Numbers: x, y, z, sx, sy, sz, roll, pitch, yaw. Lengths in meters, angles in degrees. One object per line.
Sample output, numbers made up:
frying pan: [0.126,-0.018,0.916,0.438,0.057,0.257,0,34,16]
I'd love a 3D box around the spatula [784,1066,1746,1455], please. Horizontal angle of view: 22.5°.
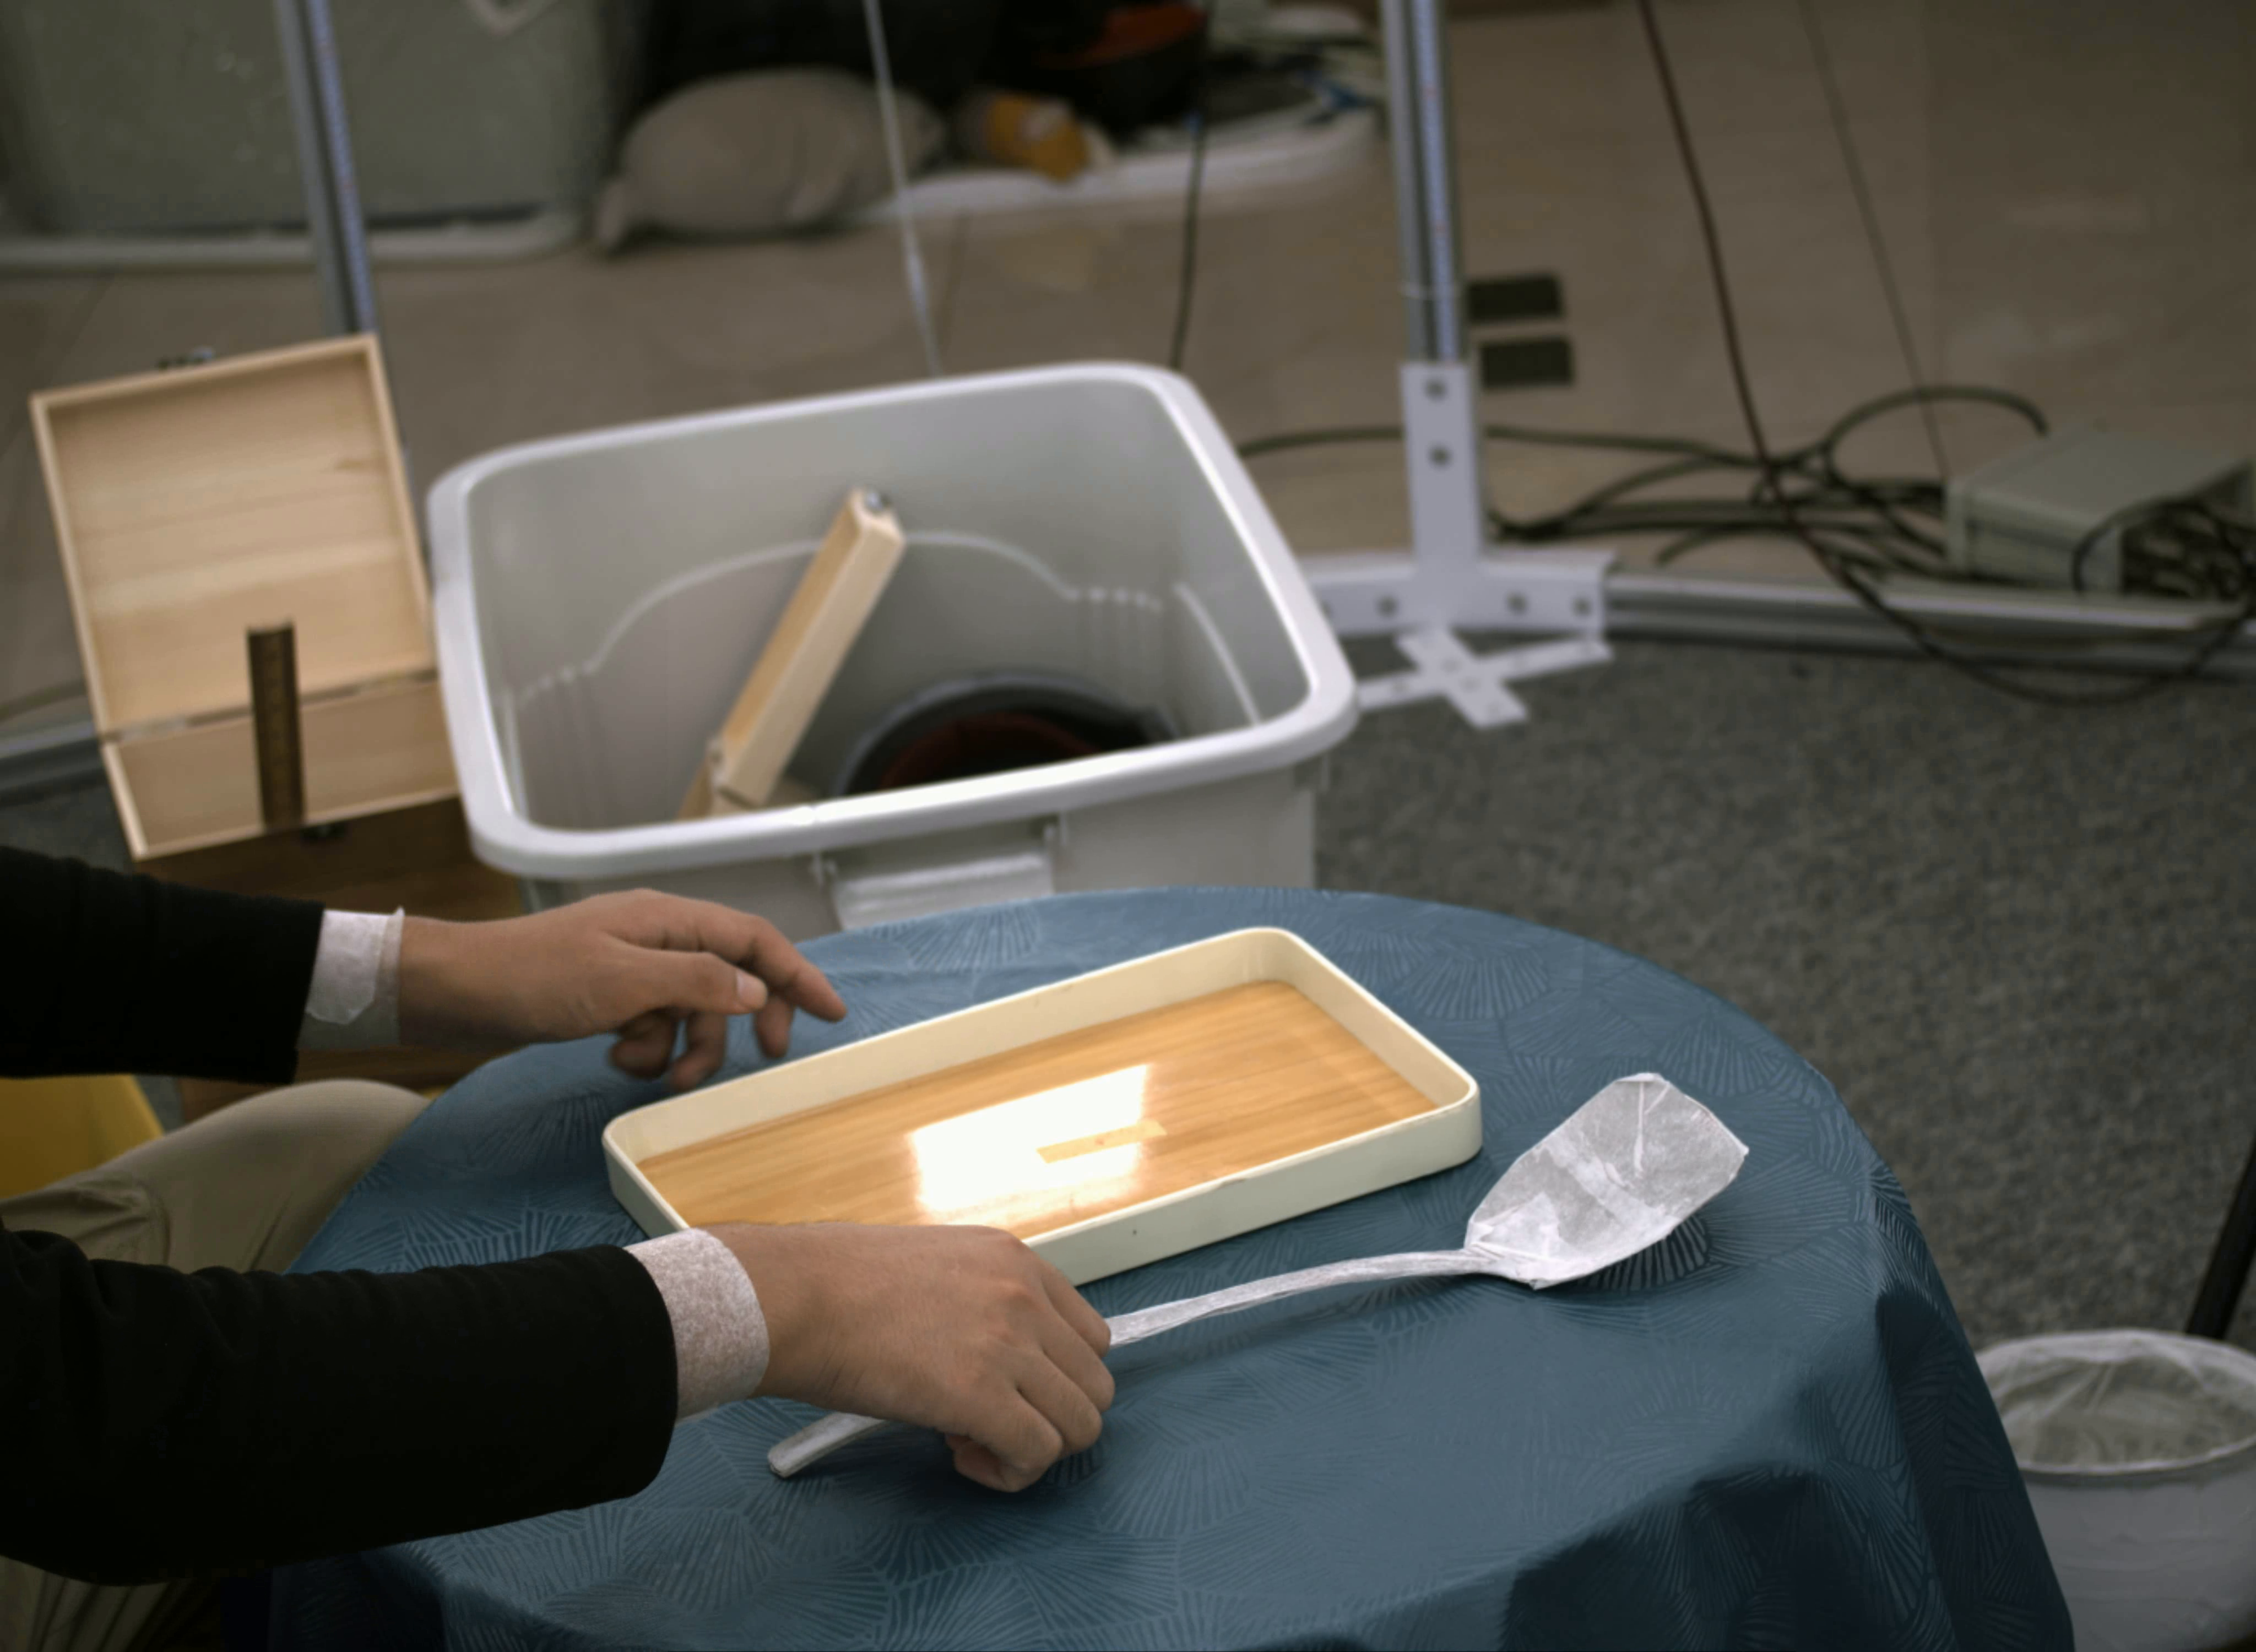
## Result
spatula: [0.049,0.163,2.039,0.363,0.045,0.097,-14,26,-16]

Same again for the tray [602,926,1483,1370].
tray: [-0.034,0.119,2.167,0.299,0.028,0.189,-16,26,-19]
